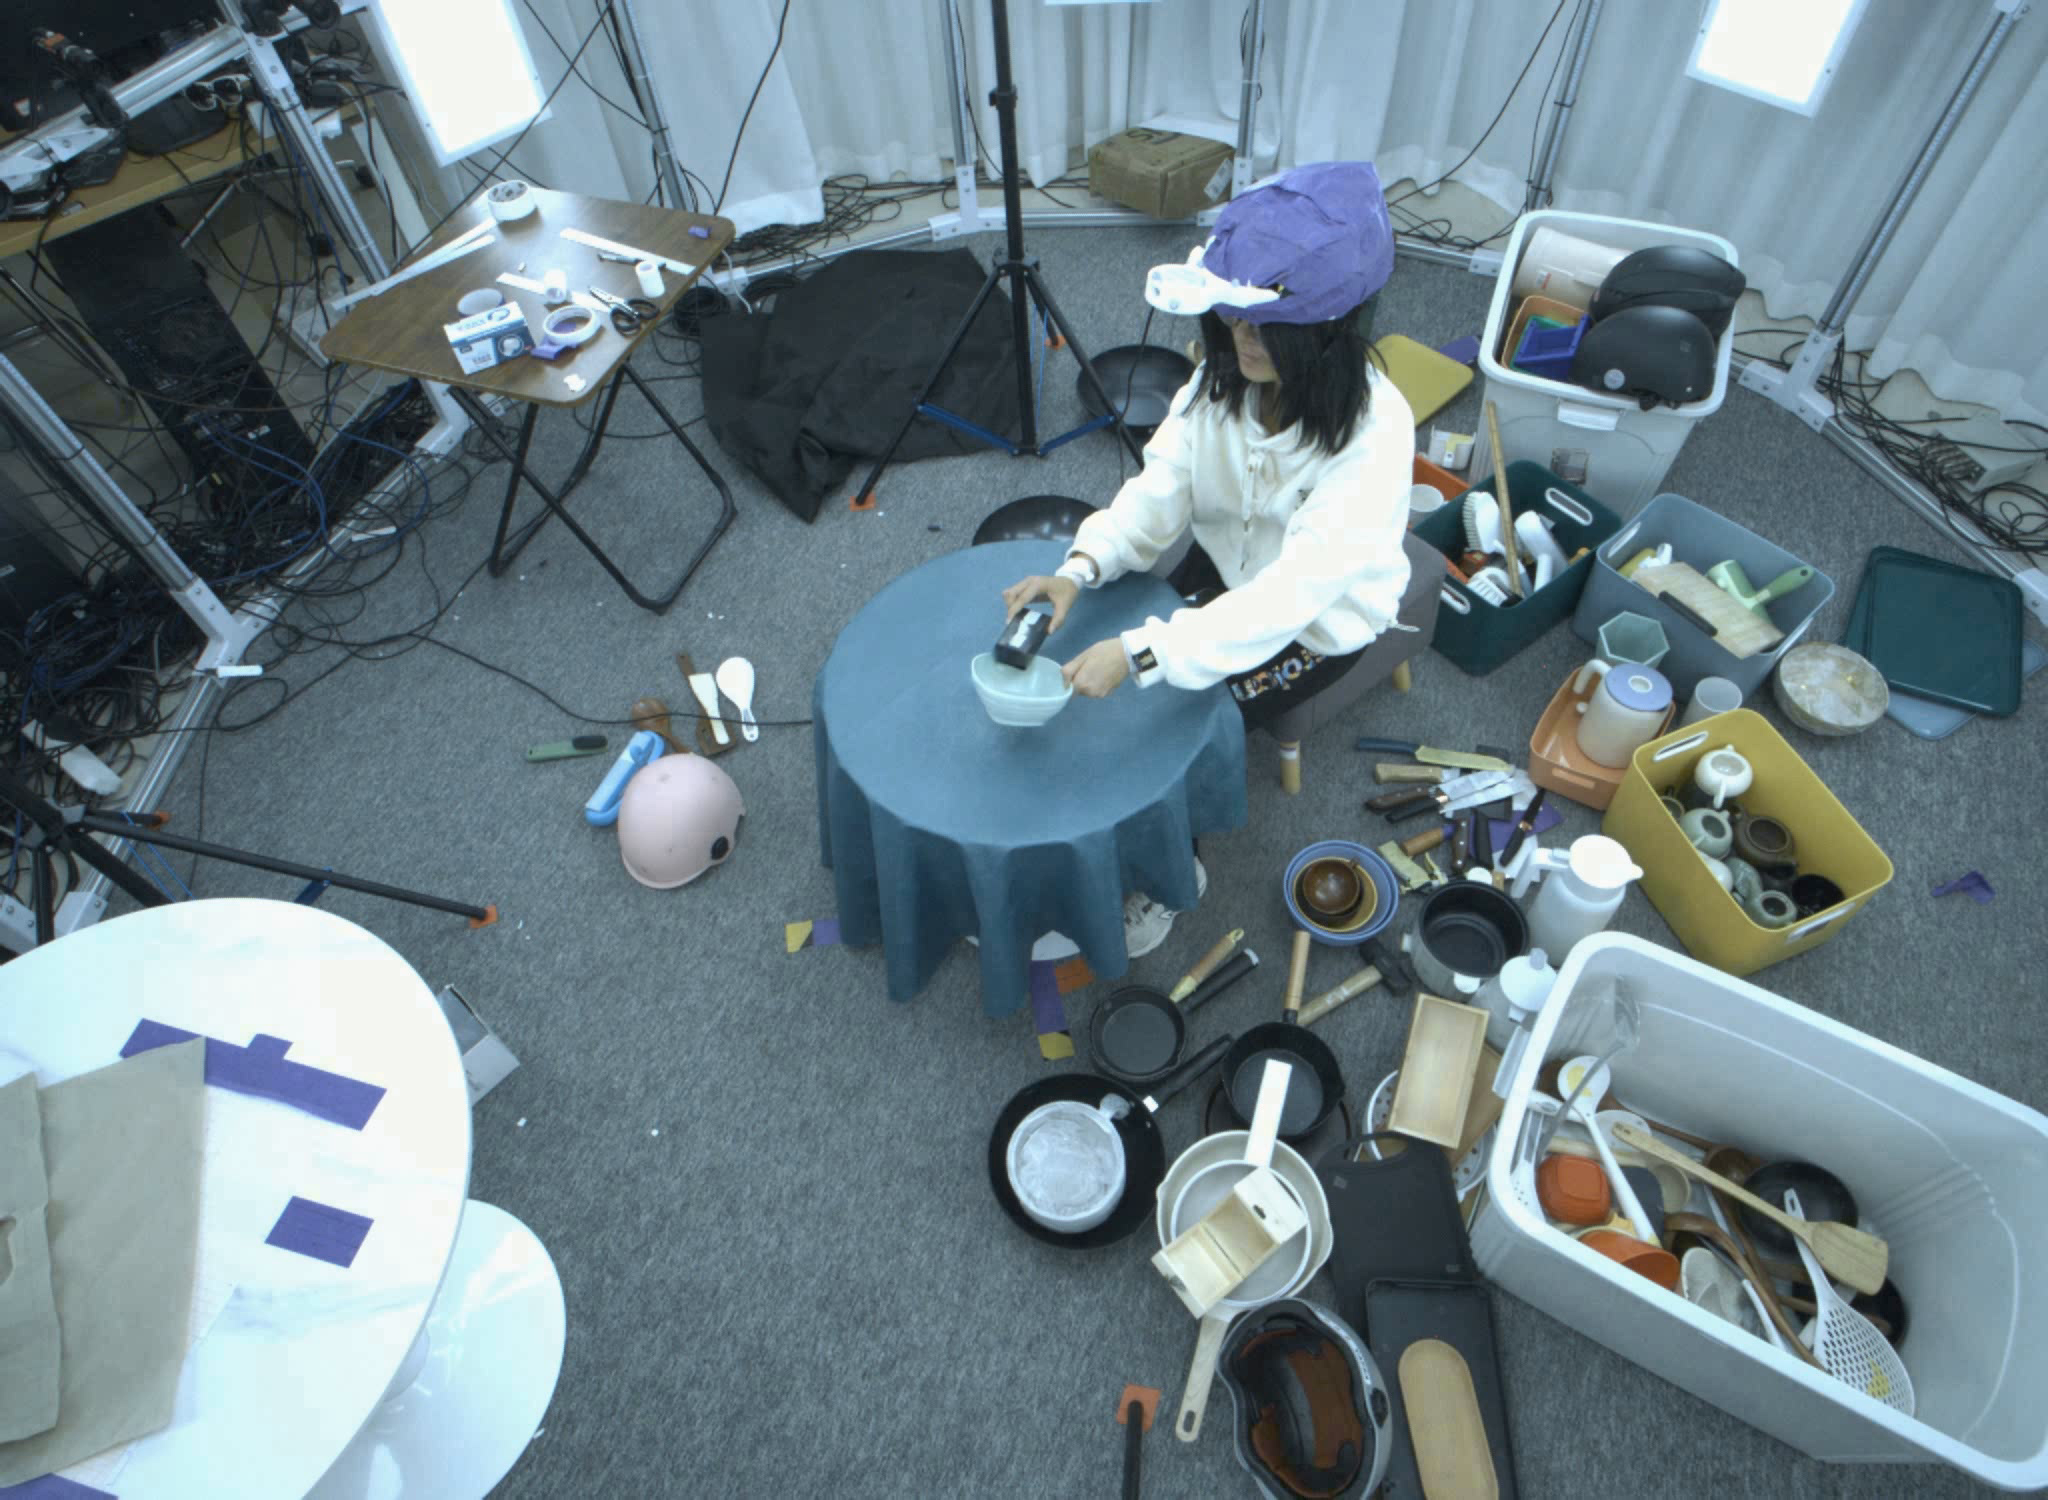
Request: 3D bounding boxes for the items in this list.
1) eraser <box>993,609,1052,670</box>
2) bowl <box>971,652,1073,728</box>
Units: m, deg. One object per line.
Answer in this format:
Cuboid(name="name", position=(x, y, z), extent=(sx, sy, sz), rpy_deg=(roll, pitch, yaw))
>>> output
Cuboid(name="eraser", position=(-0.002, -0.158, 1.755), extent=(0.053, 0.030, 0.125), rpy_deg=(19, 34, 6))
Cuboid(name="bowl", position=(-0.007, -0.078, 1.704), extent=(0.152, 0.059, 0.150), rpy_deg=(9, 33, -5))
